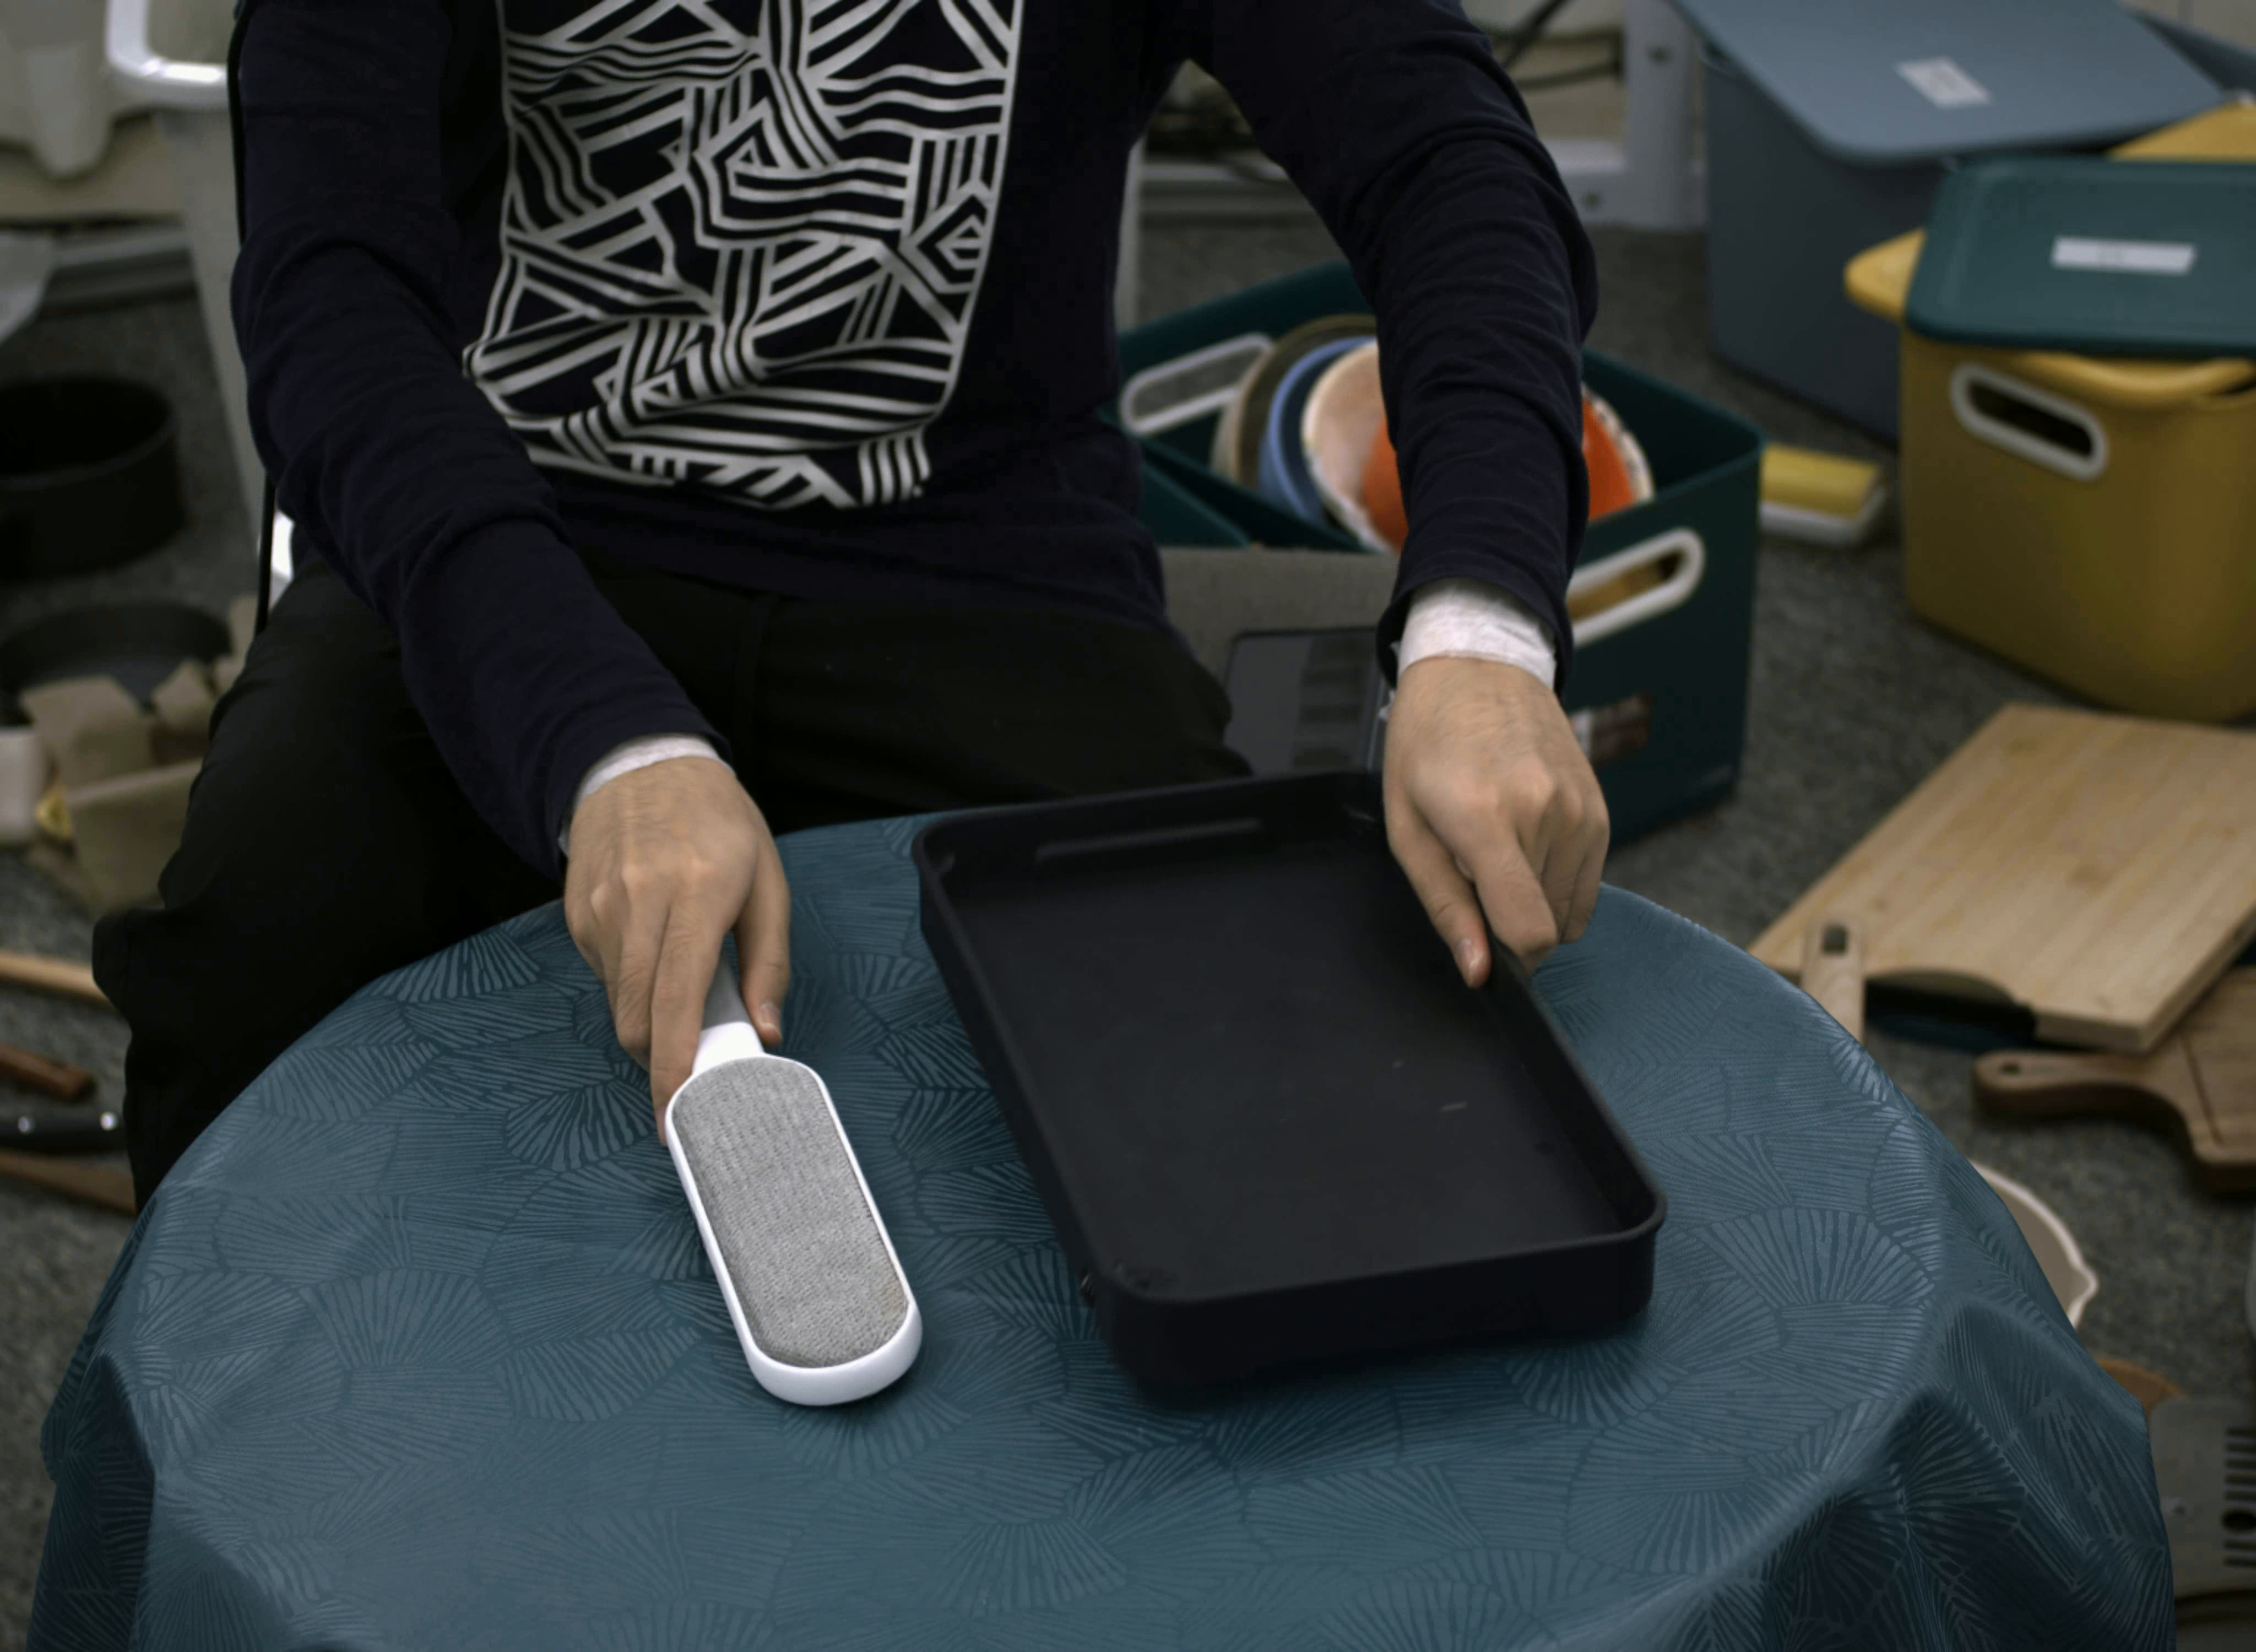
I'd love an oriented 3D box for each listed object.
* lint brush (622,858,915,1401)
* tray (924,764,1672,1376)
[{"bbox_3d":[-0.127,0.095,1.872,0.060,0.020,0.312,-19,34,-6],"label":"lint brush"},{"bbox_3d":[0.049,0.075,1.872,0.184,0.036,0.322,-5,29,-13],"label":"tray"}]
